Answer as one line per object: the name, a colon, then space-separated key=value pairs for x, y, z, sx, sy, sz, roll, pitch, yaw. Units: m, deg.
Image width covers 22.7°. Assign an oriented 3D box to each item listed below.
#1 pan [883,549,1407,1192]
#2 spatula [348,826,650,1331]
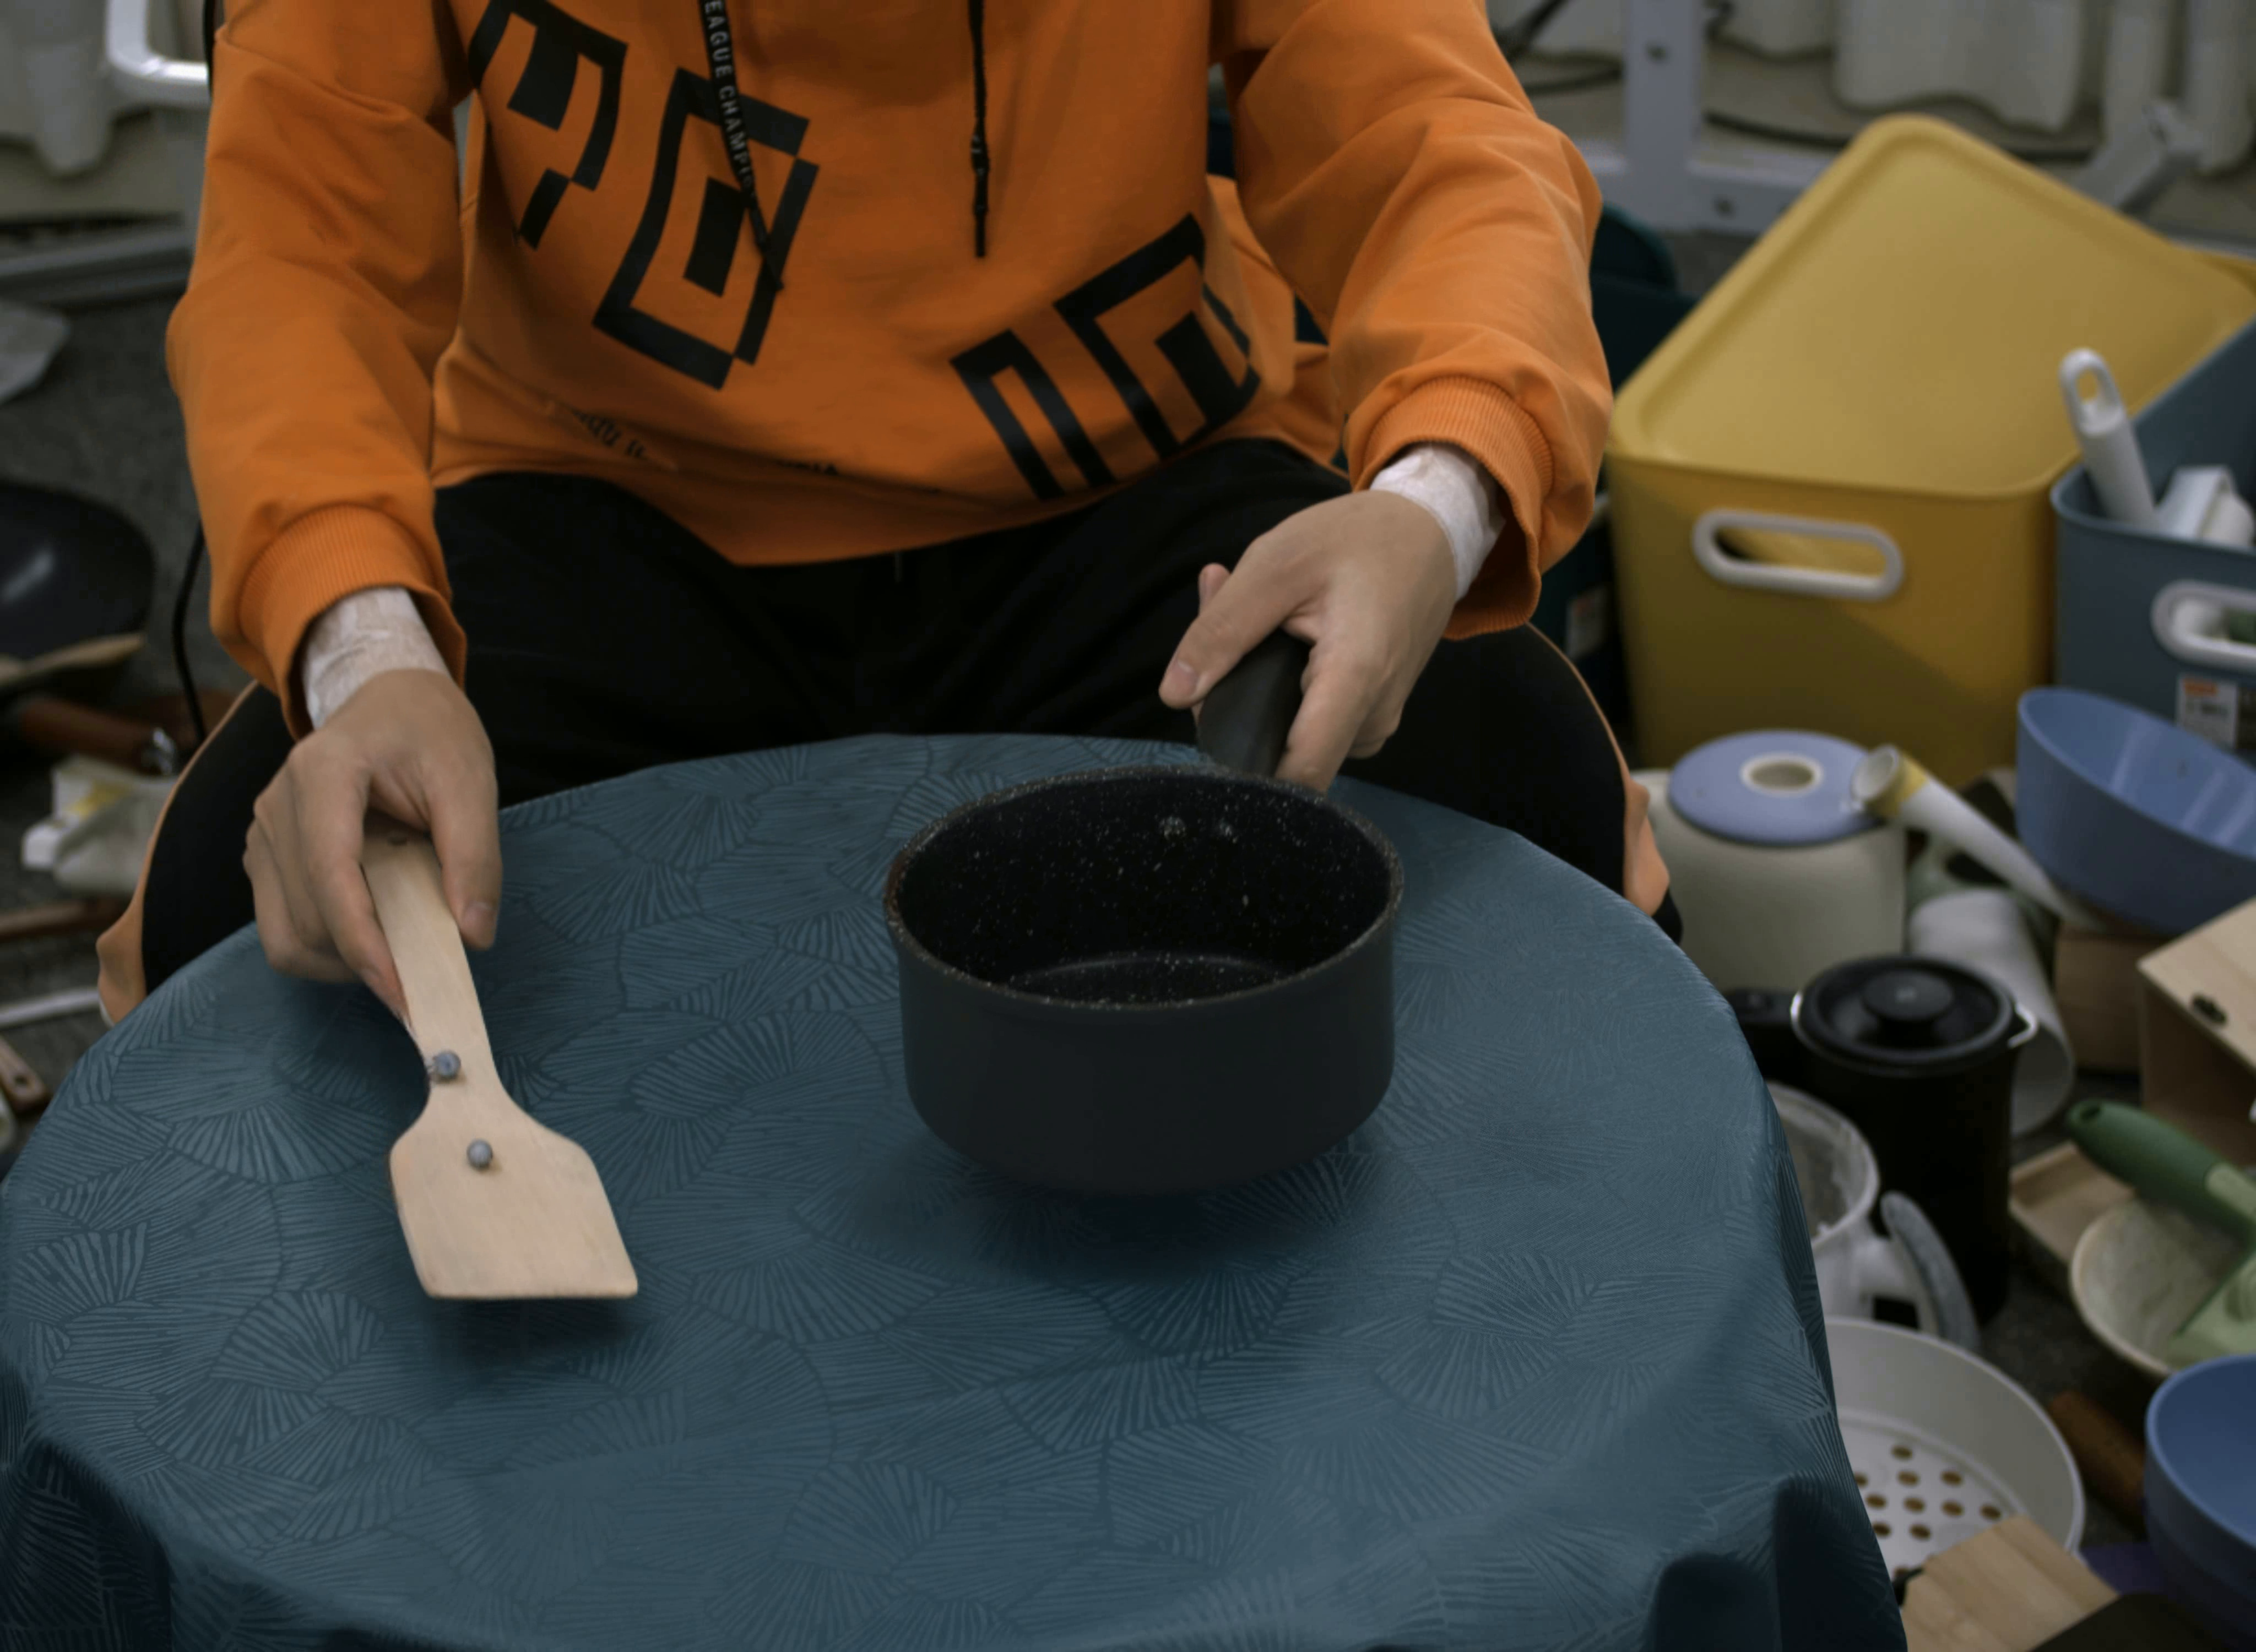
pan: x=0.028 y=0.011 z=1.918 sx=0.171 sy=0.085 sz=0.334 roll=6 pitch=29 yaw=15
spatula: x=-0.227 y=0.082 z=1.896 sx=0.072 sy=0.010 sz=0.297 roll=-1 pitch=33 yaw=-19
